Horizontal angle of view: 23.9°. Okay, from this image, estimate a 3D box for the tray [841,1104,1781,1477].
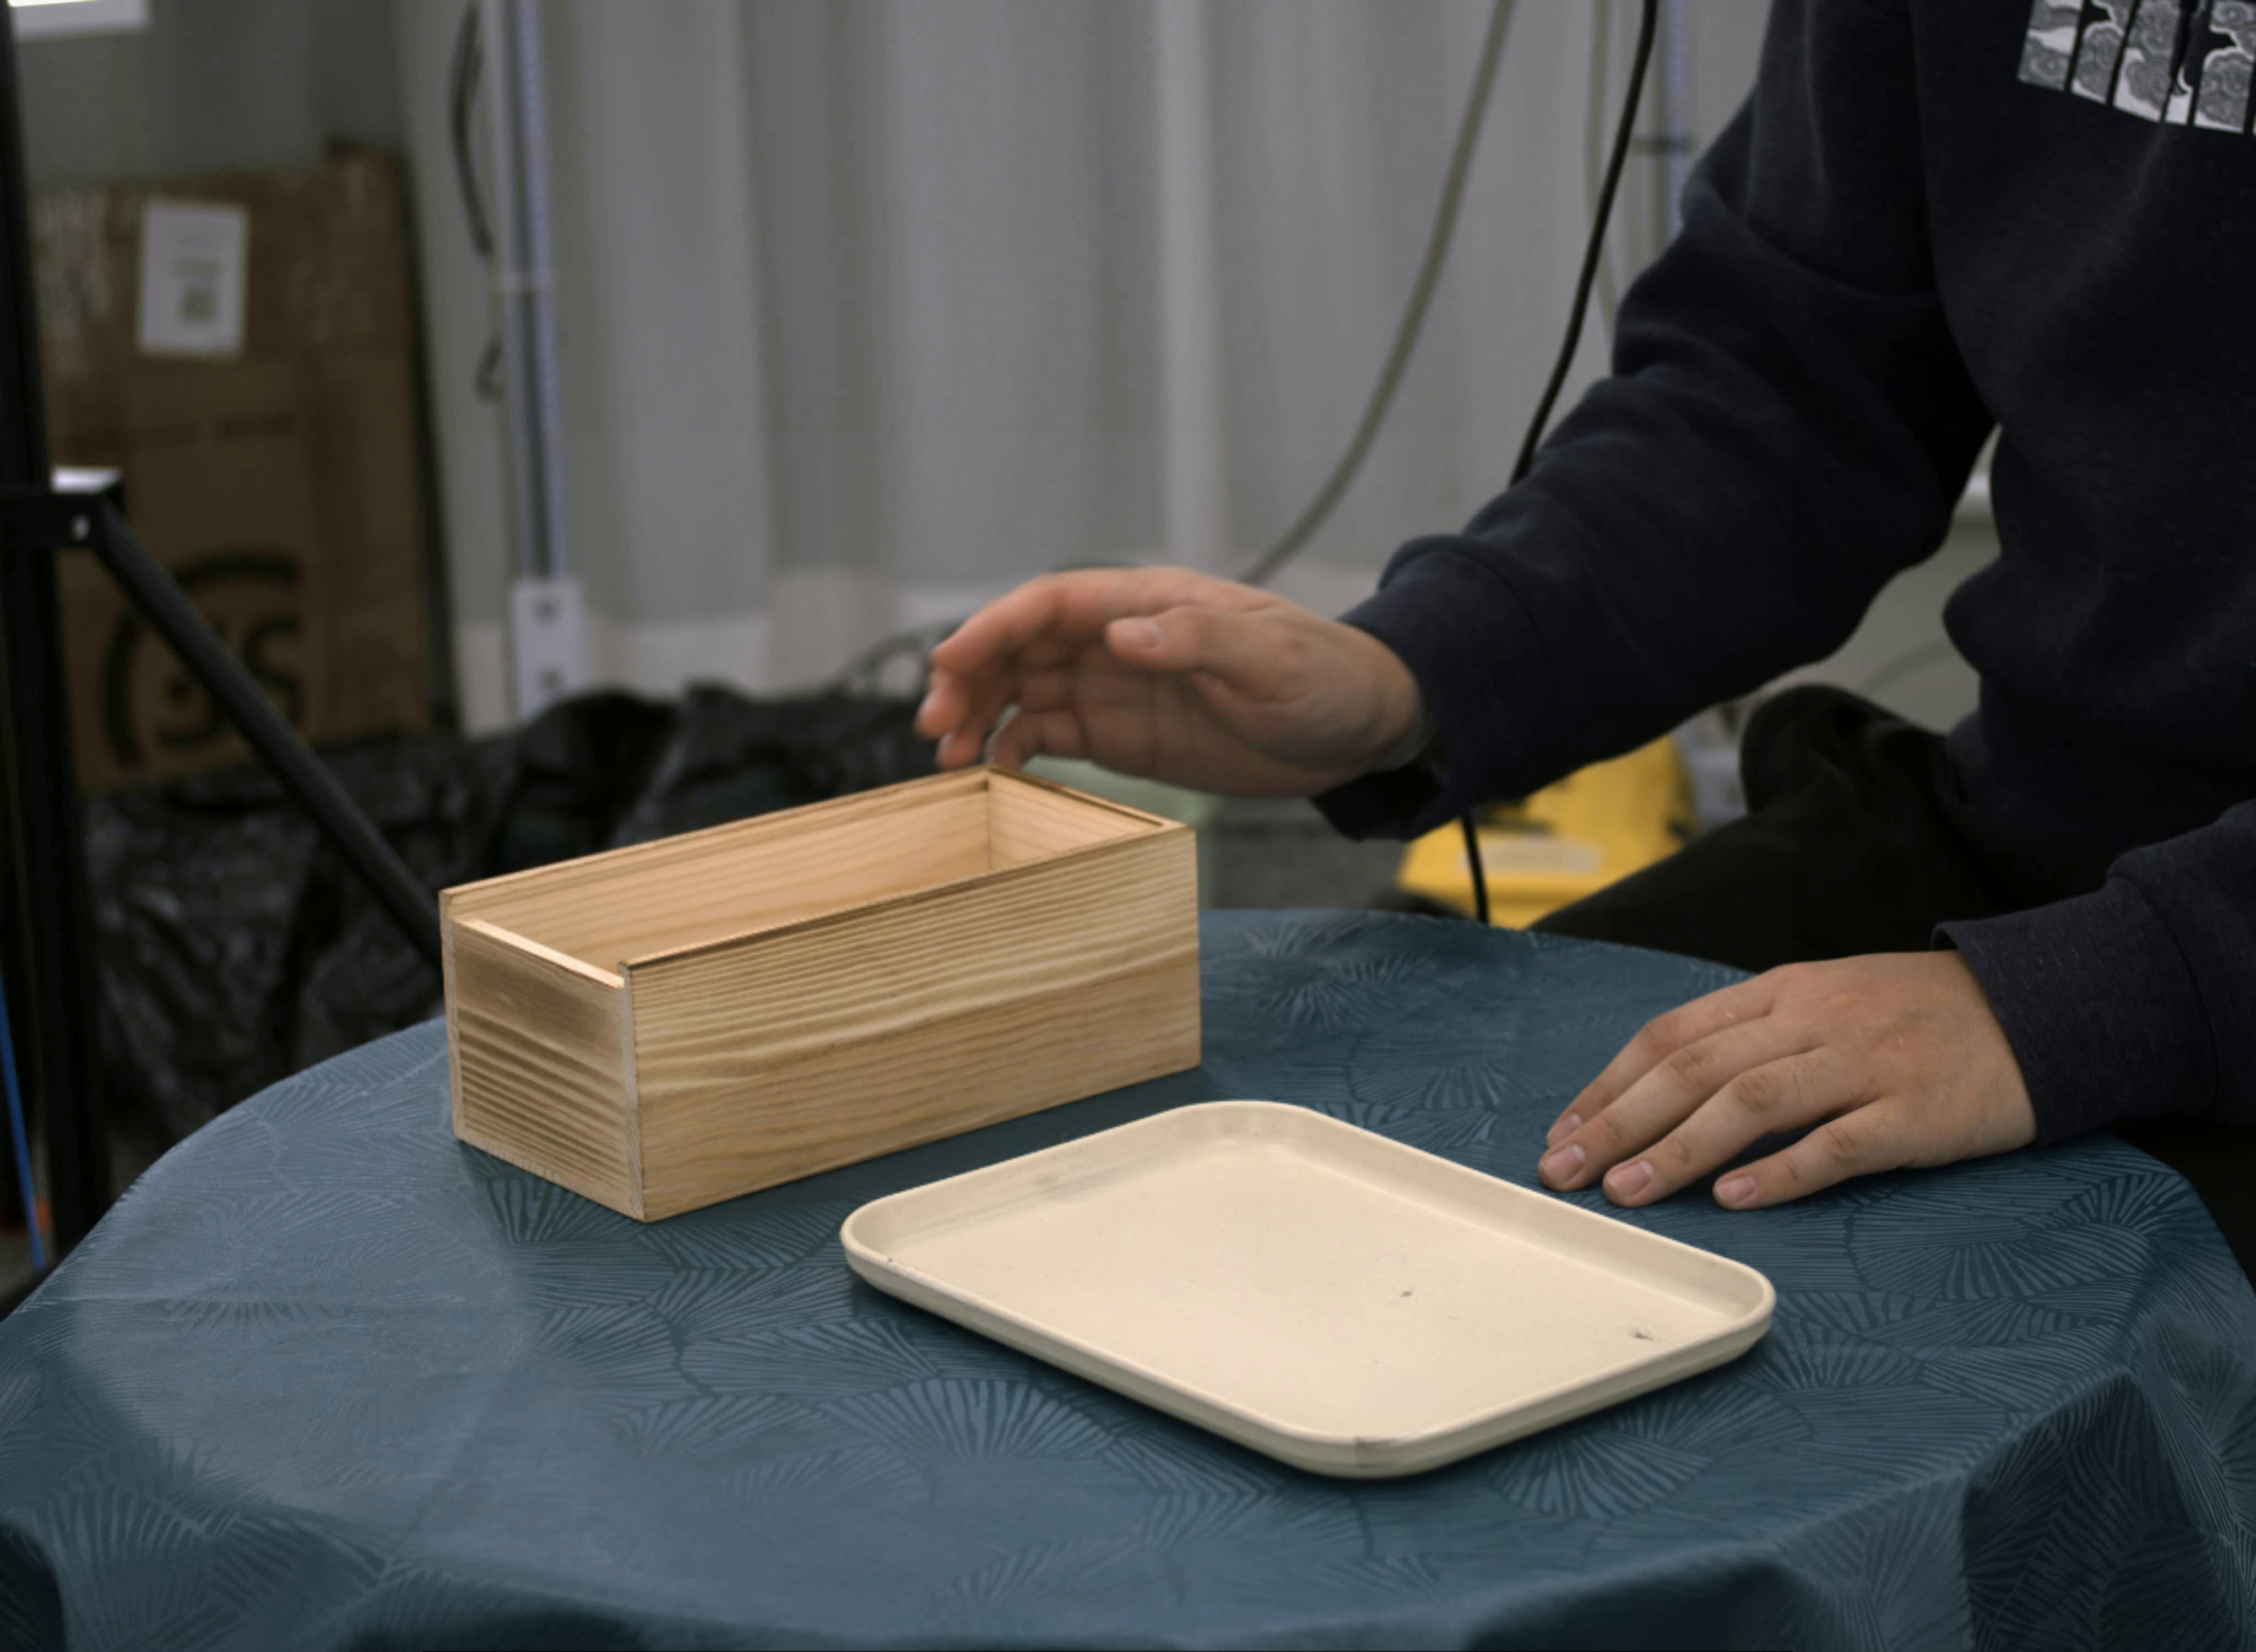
[{"bbox_3d":[0.048,0.126,1.456,0.167,0.017,0.245,-14,19,-36],"label":"tray"}]

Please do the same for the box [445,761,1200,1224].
[{"bbox_3d":[-0.091,0.048,1.638,0.206,0.080,0.110,-14,20,-35],"label":"box"}]
